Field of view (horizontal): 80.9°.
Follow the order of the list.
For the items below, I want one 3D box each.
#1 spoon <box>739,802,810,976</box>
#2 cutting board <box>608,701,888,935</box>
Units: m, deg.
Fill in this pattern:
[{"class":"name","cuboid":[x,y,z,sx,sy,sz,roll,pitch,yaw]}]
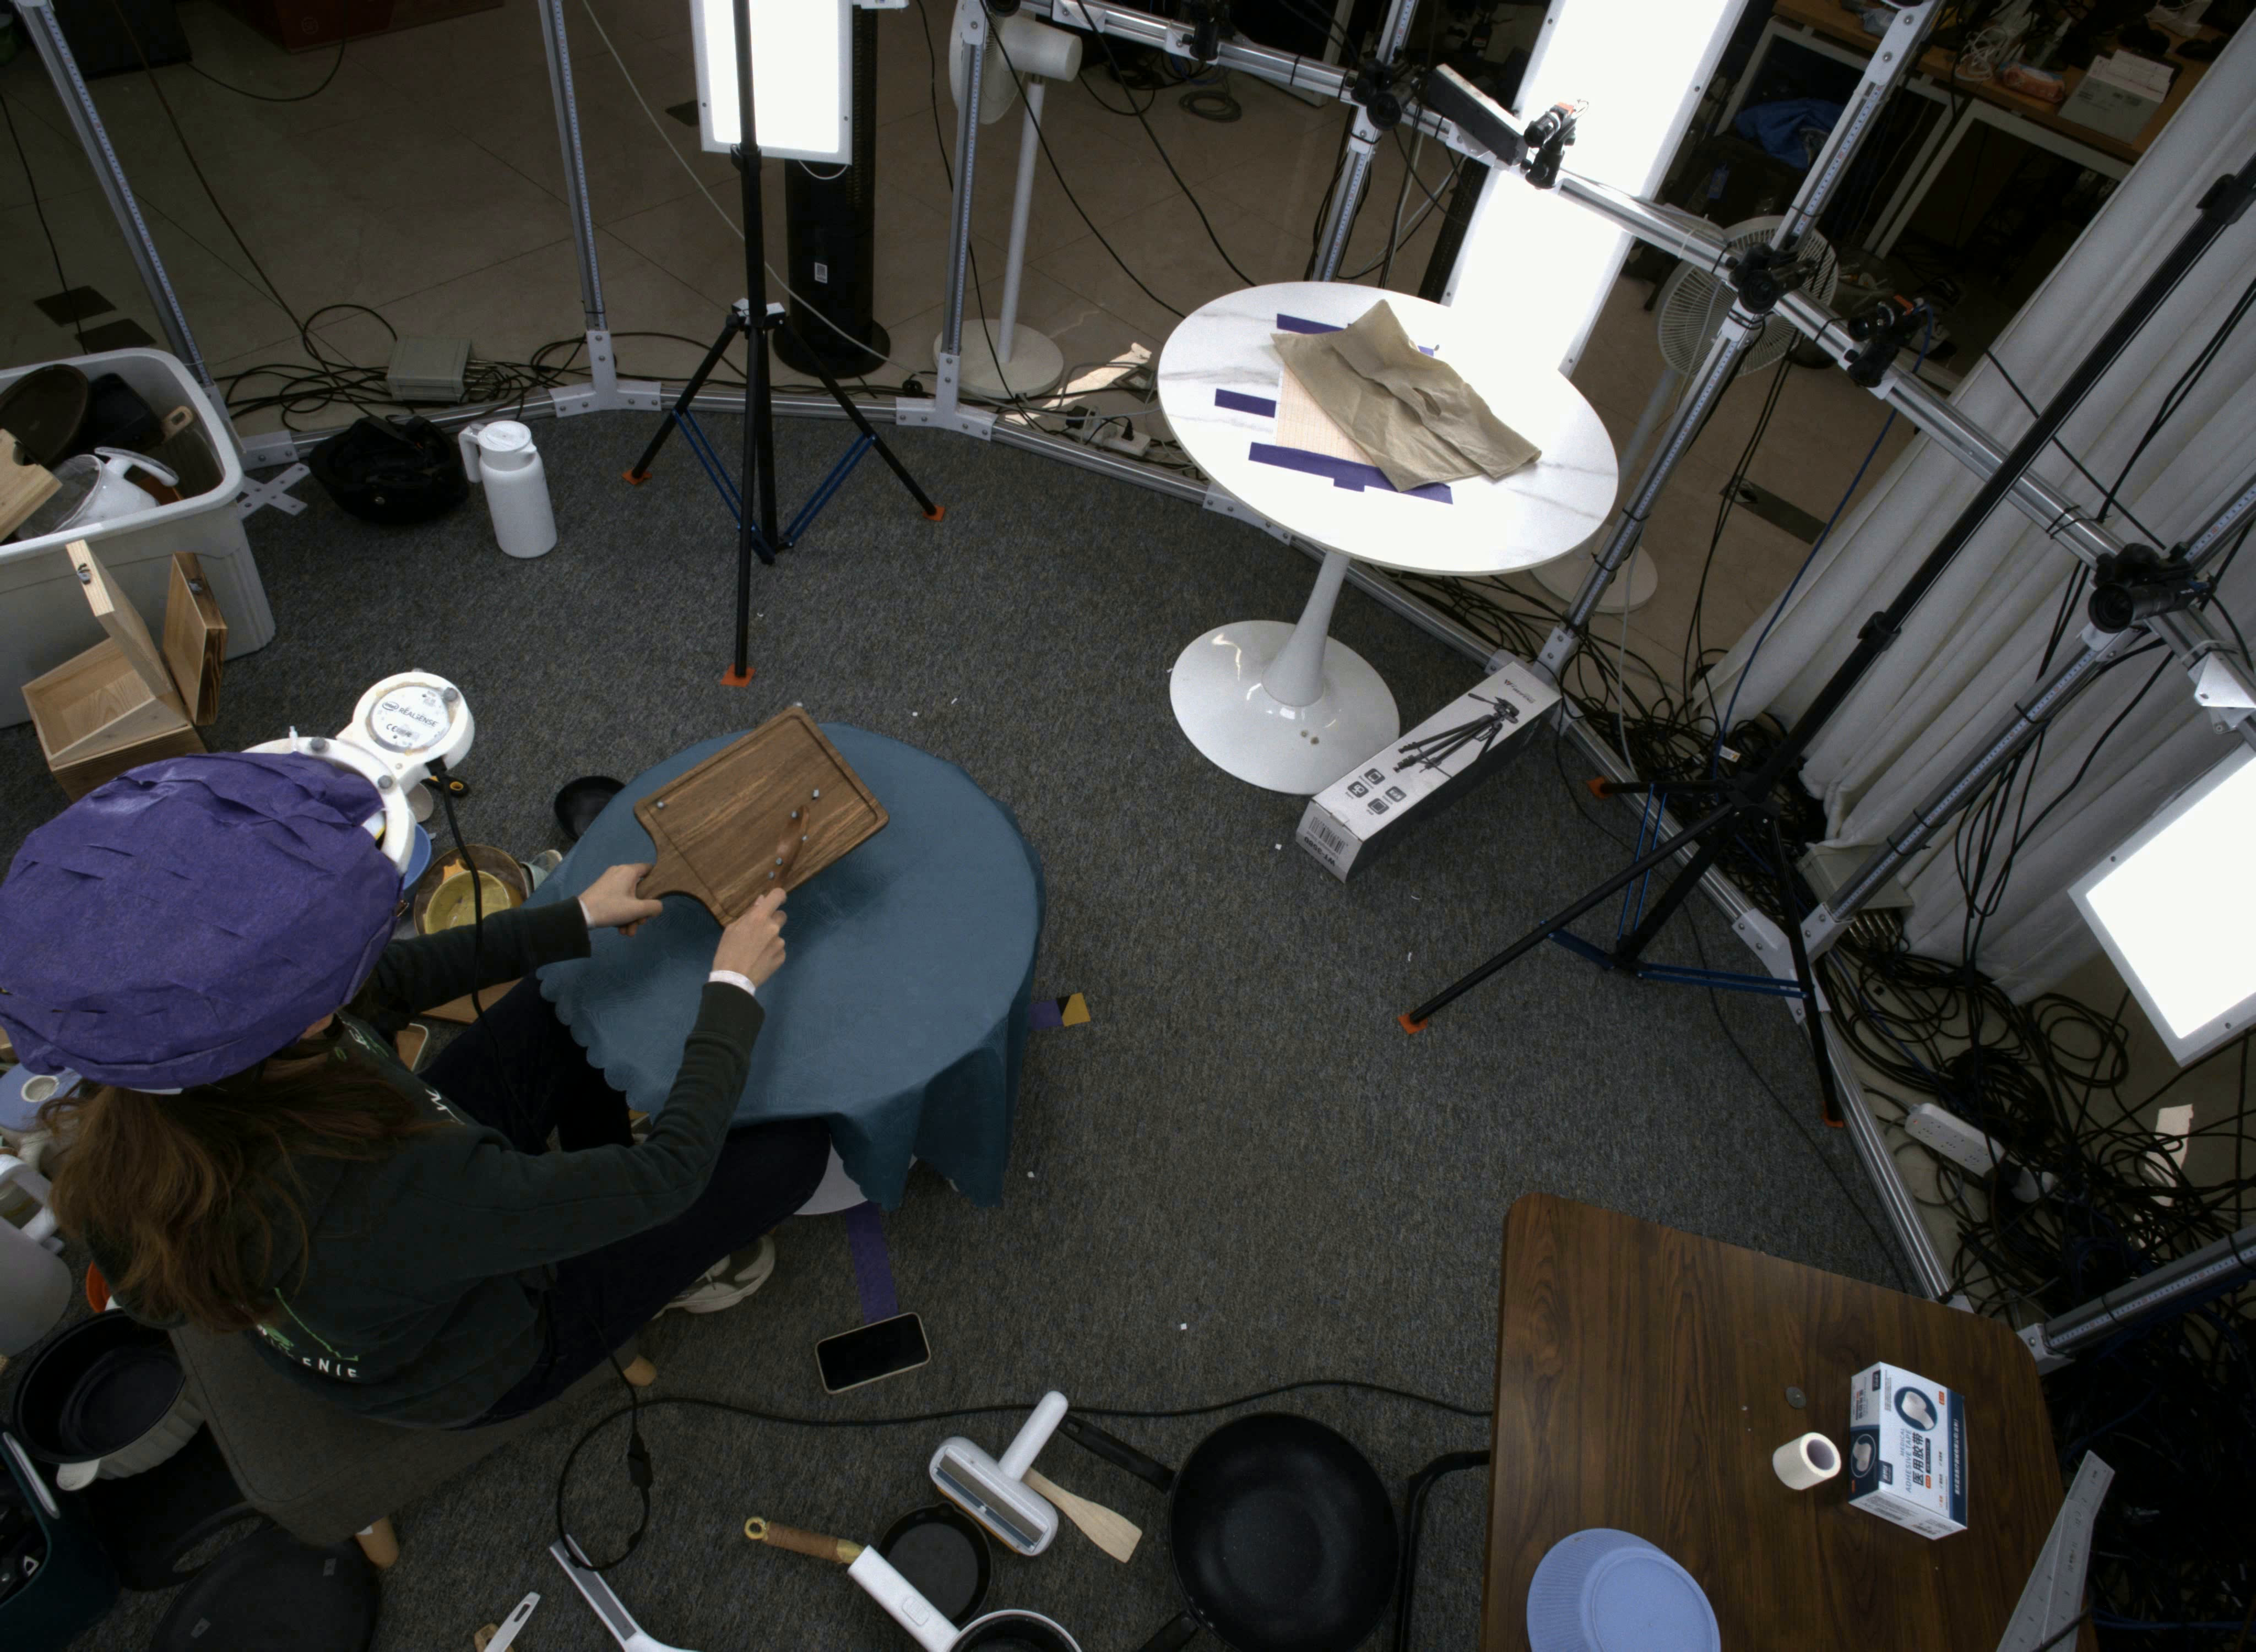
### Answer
[{"class":"spoon","cuboid":[-0.407,0.070,1.495,0.018,0.074,0.214,29,61,-29]},{"class":"cutting board","cuboid":[-0.487,0.012,1.579,0.352,0.023,0.201,-38,90,-27]}]
